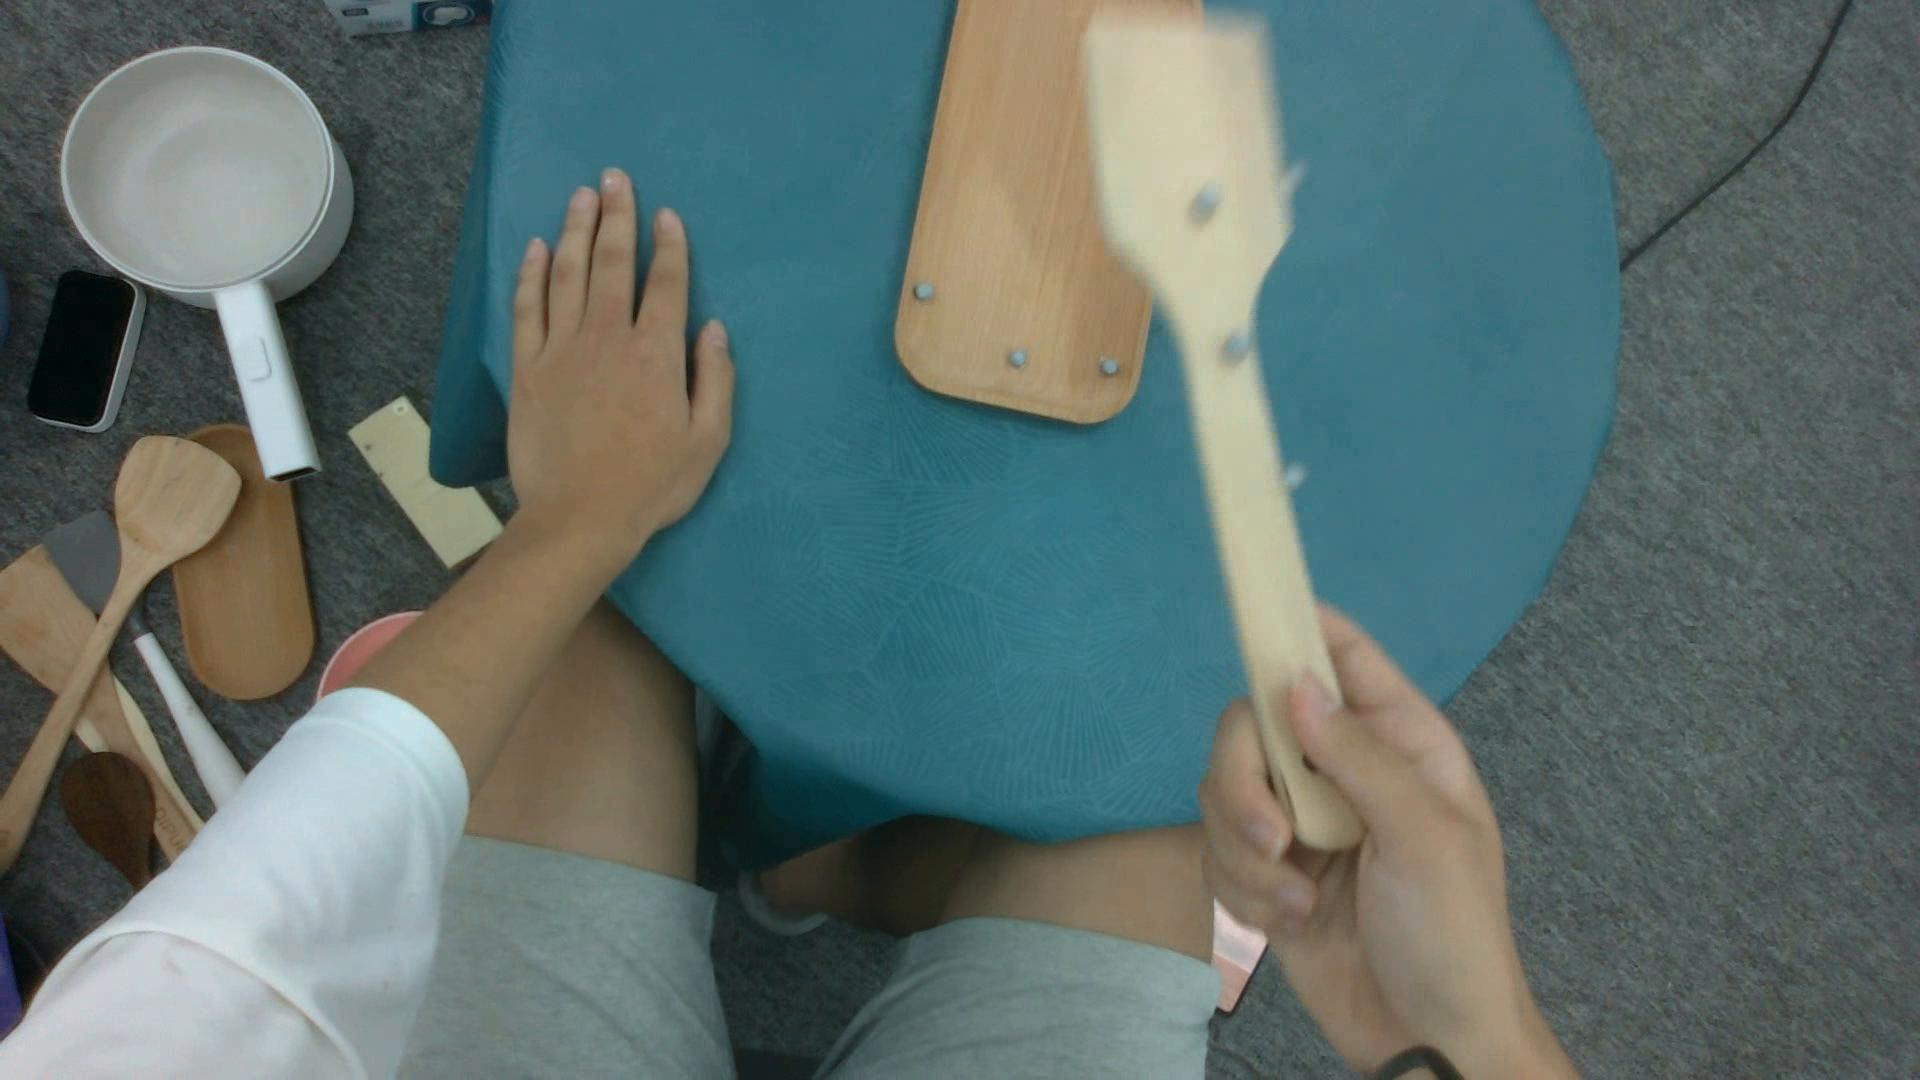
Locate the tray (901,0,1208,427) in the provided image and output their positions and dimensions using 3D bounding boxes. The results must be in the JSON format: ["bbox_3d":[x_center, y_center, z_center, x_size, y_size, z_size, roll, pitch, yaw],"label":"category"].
[{"bbox_3d":[0.050,-0.187,0.719,0.130,0.023,0.251,13,82,-9],"label":"tray"}]

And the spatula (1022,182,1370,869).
[{"bbox_3d":[0.088,-0.023,0.496,0.072,0.010,0.294,-4,58,-16],"label":"spatula"}]
